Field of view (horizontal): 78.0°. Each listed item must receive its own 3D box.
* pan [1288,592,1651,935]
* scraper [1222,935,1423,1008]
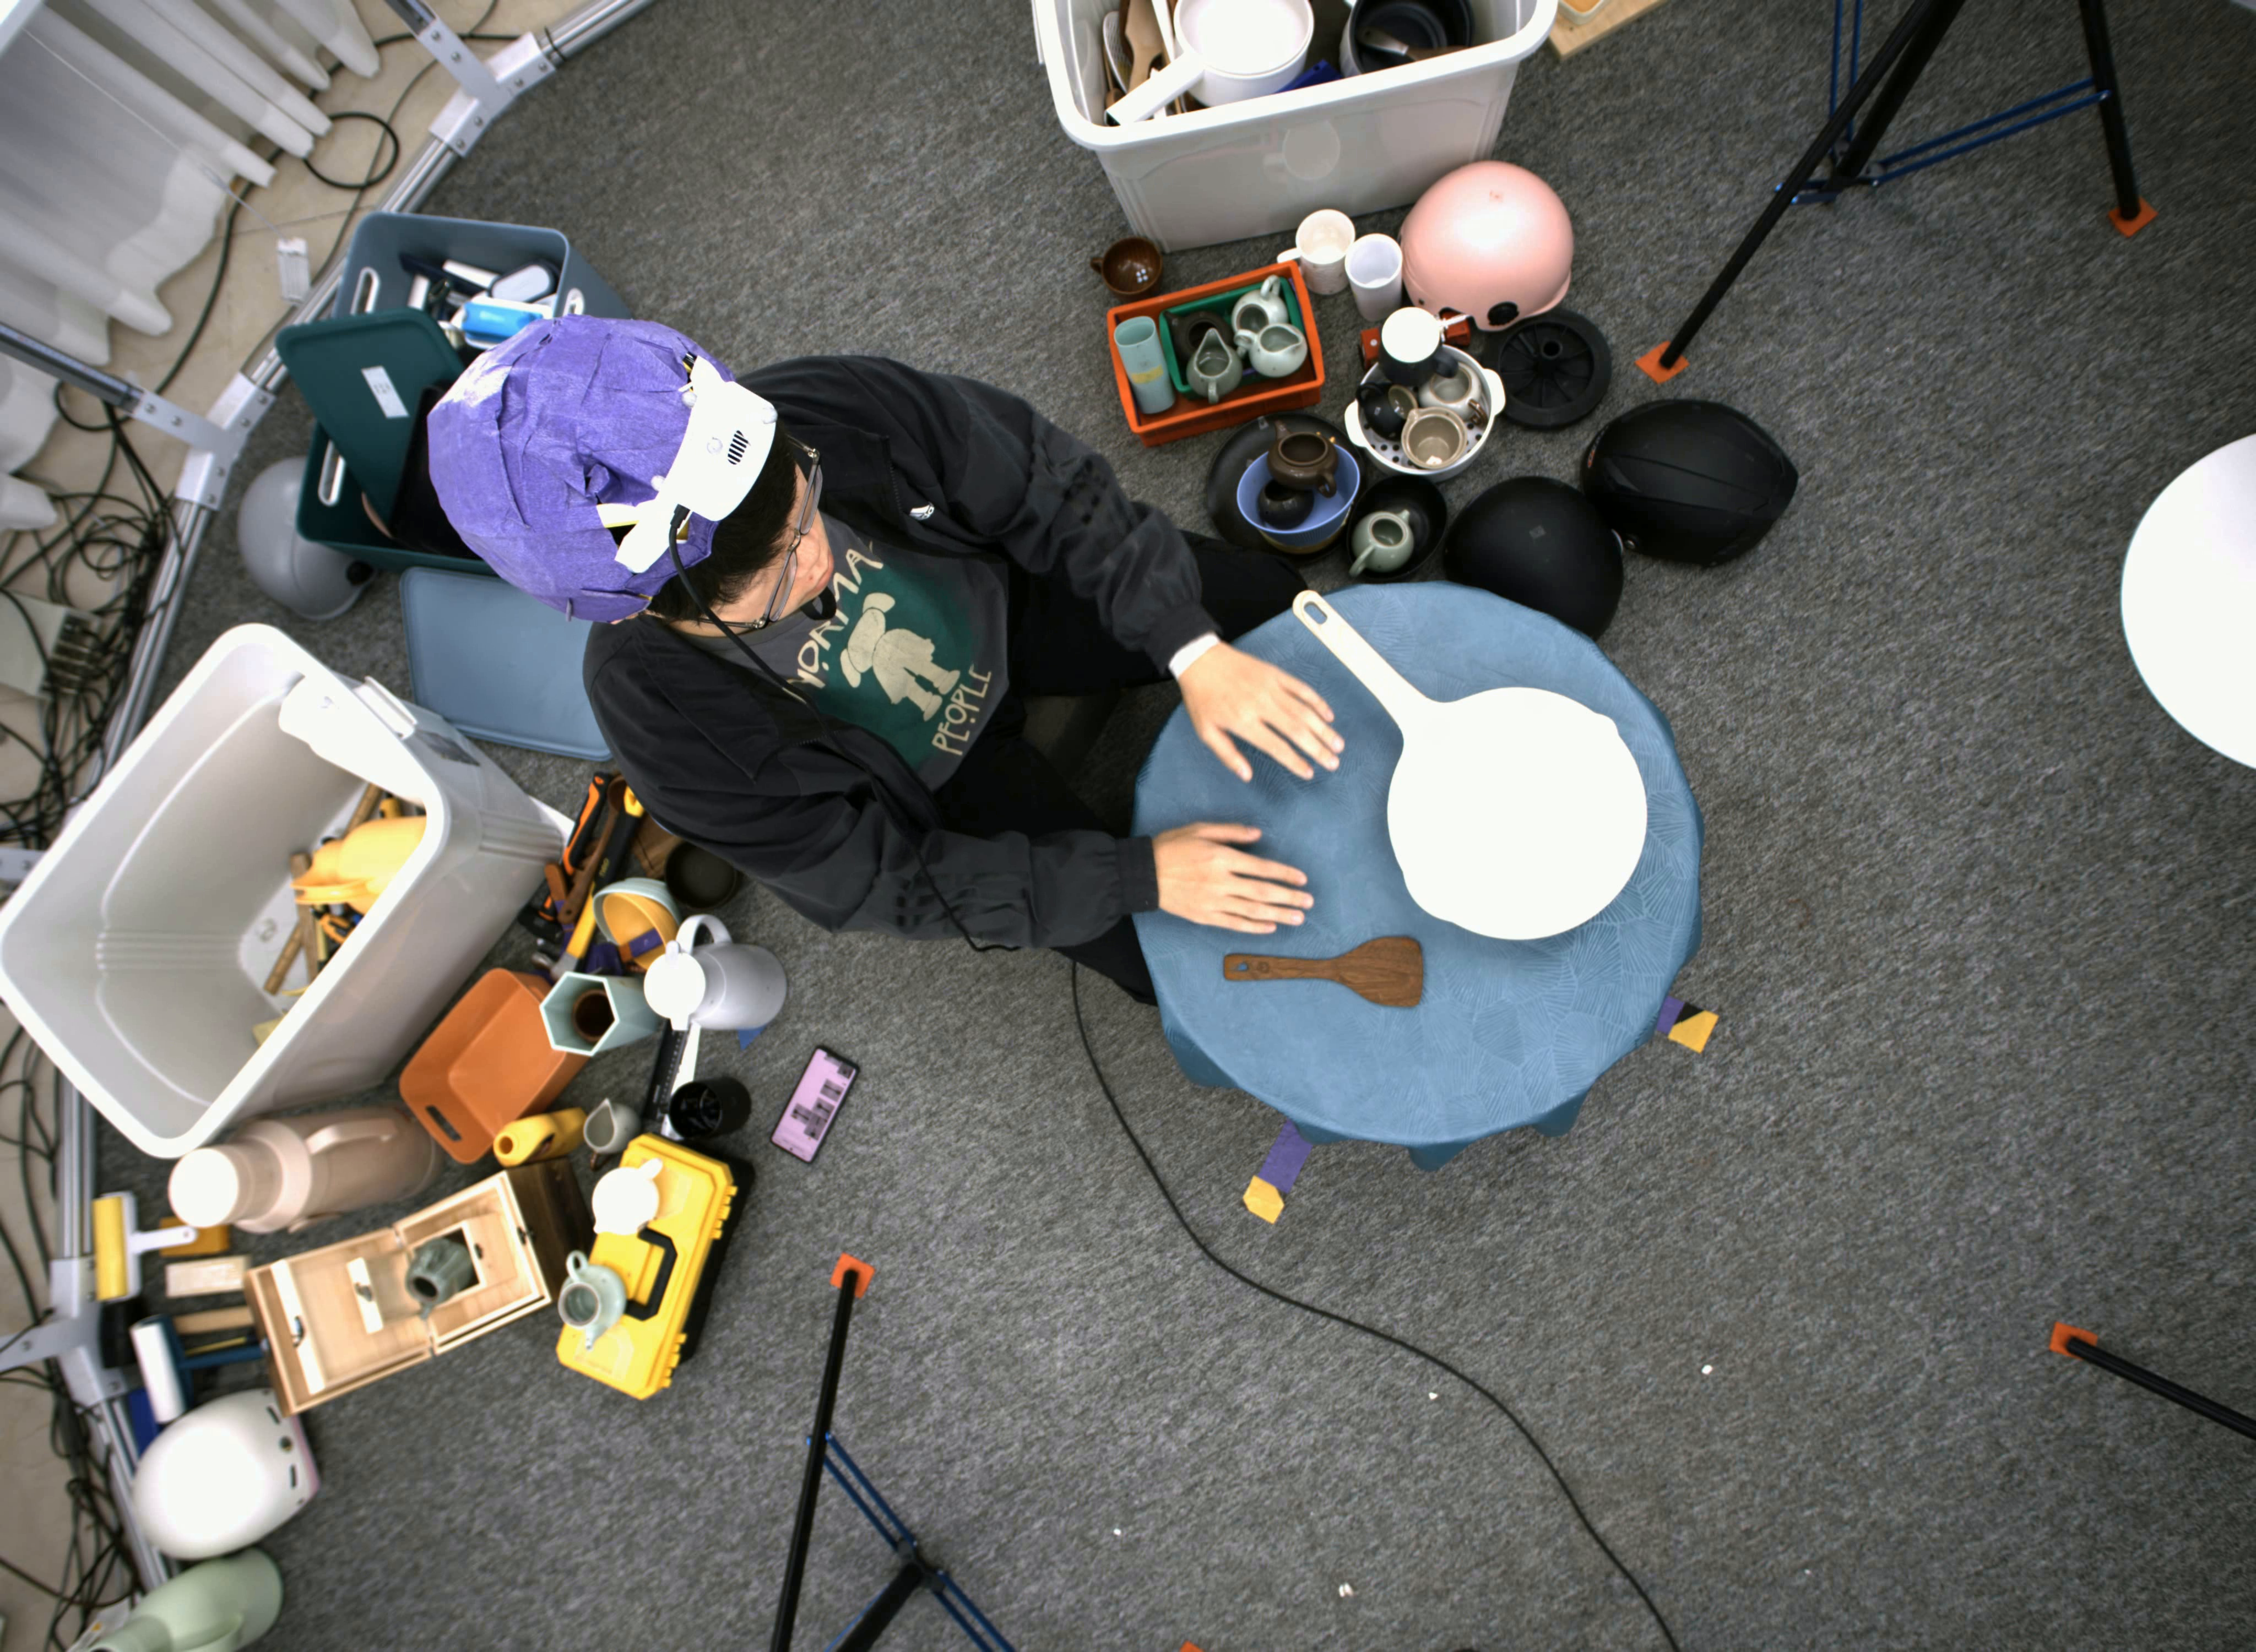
[{"bbox_3d":[0.330,-0.081,1.405,0.265,0.102,0.433,-46,80,7],"label":"pan"},{"bbox_3d":[0.204,0.150,1.463,0.212,0.011,0.075,1,86,11],"label":"scraper"}]
